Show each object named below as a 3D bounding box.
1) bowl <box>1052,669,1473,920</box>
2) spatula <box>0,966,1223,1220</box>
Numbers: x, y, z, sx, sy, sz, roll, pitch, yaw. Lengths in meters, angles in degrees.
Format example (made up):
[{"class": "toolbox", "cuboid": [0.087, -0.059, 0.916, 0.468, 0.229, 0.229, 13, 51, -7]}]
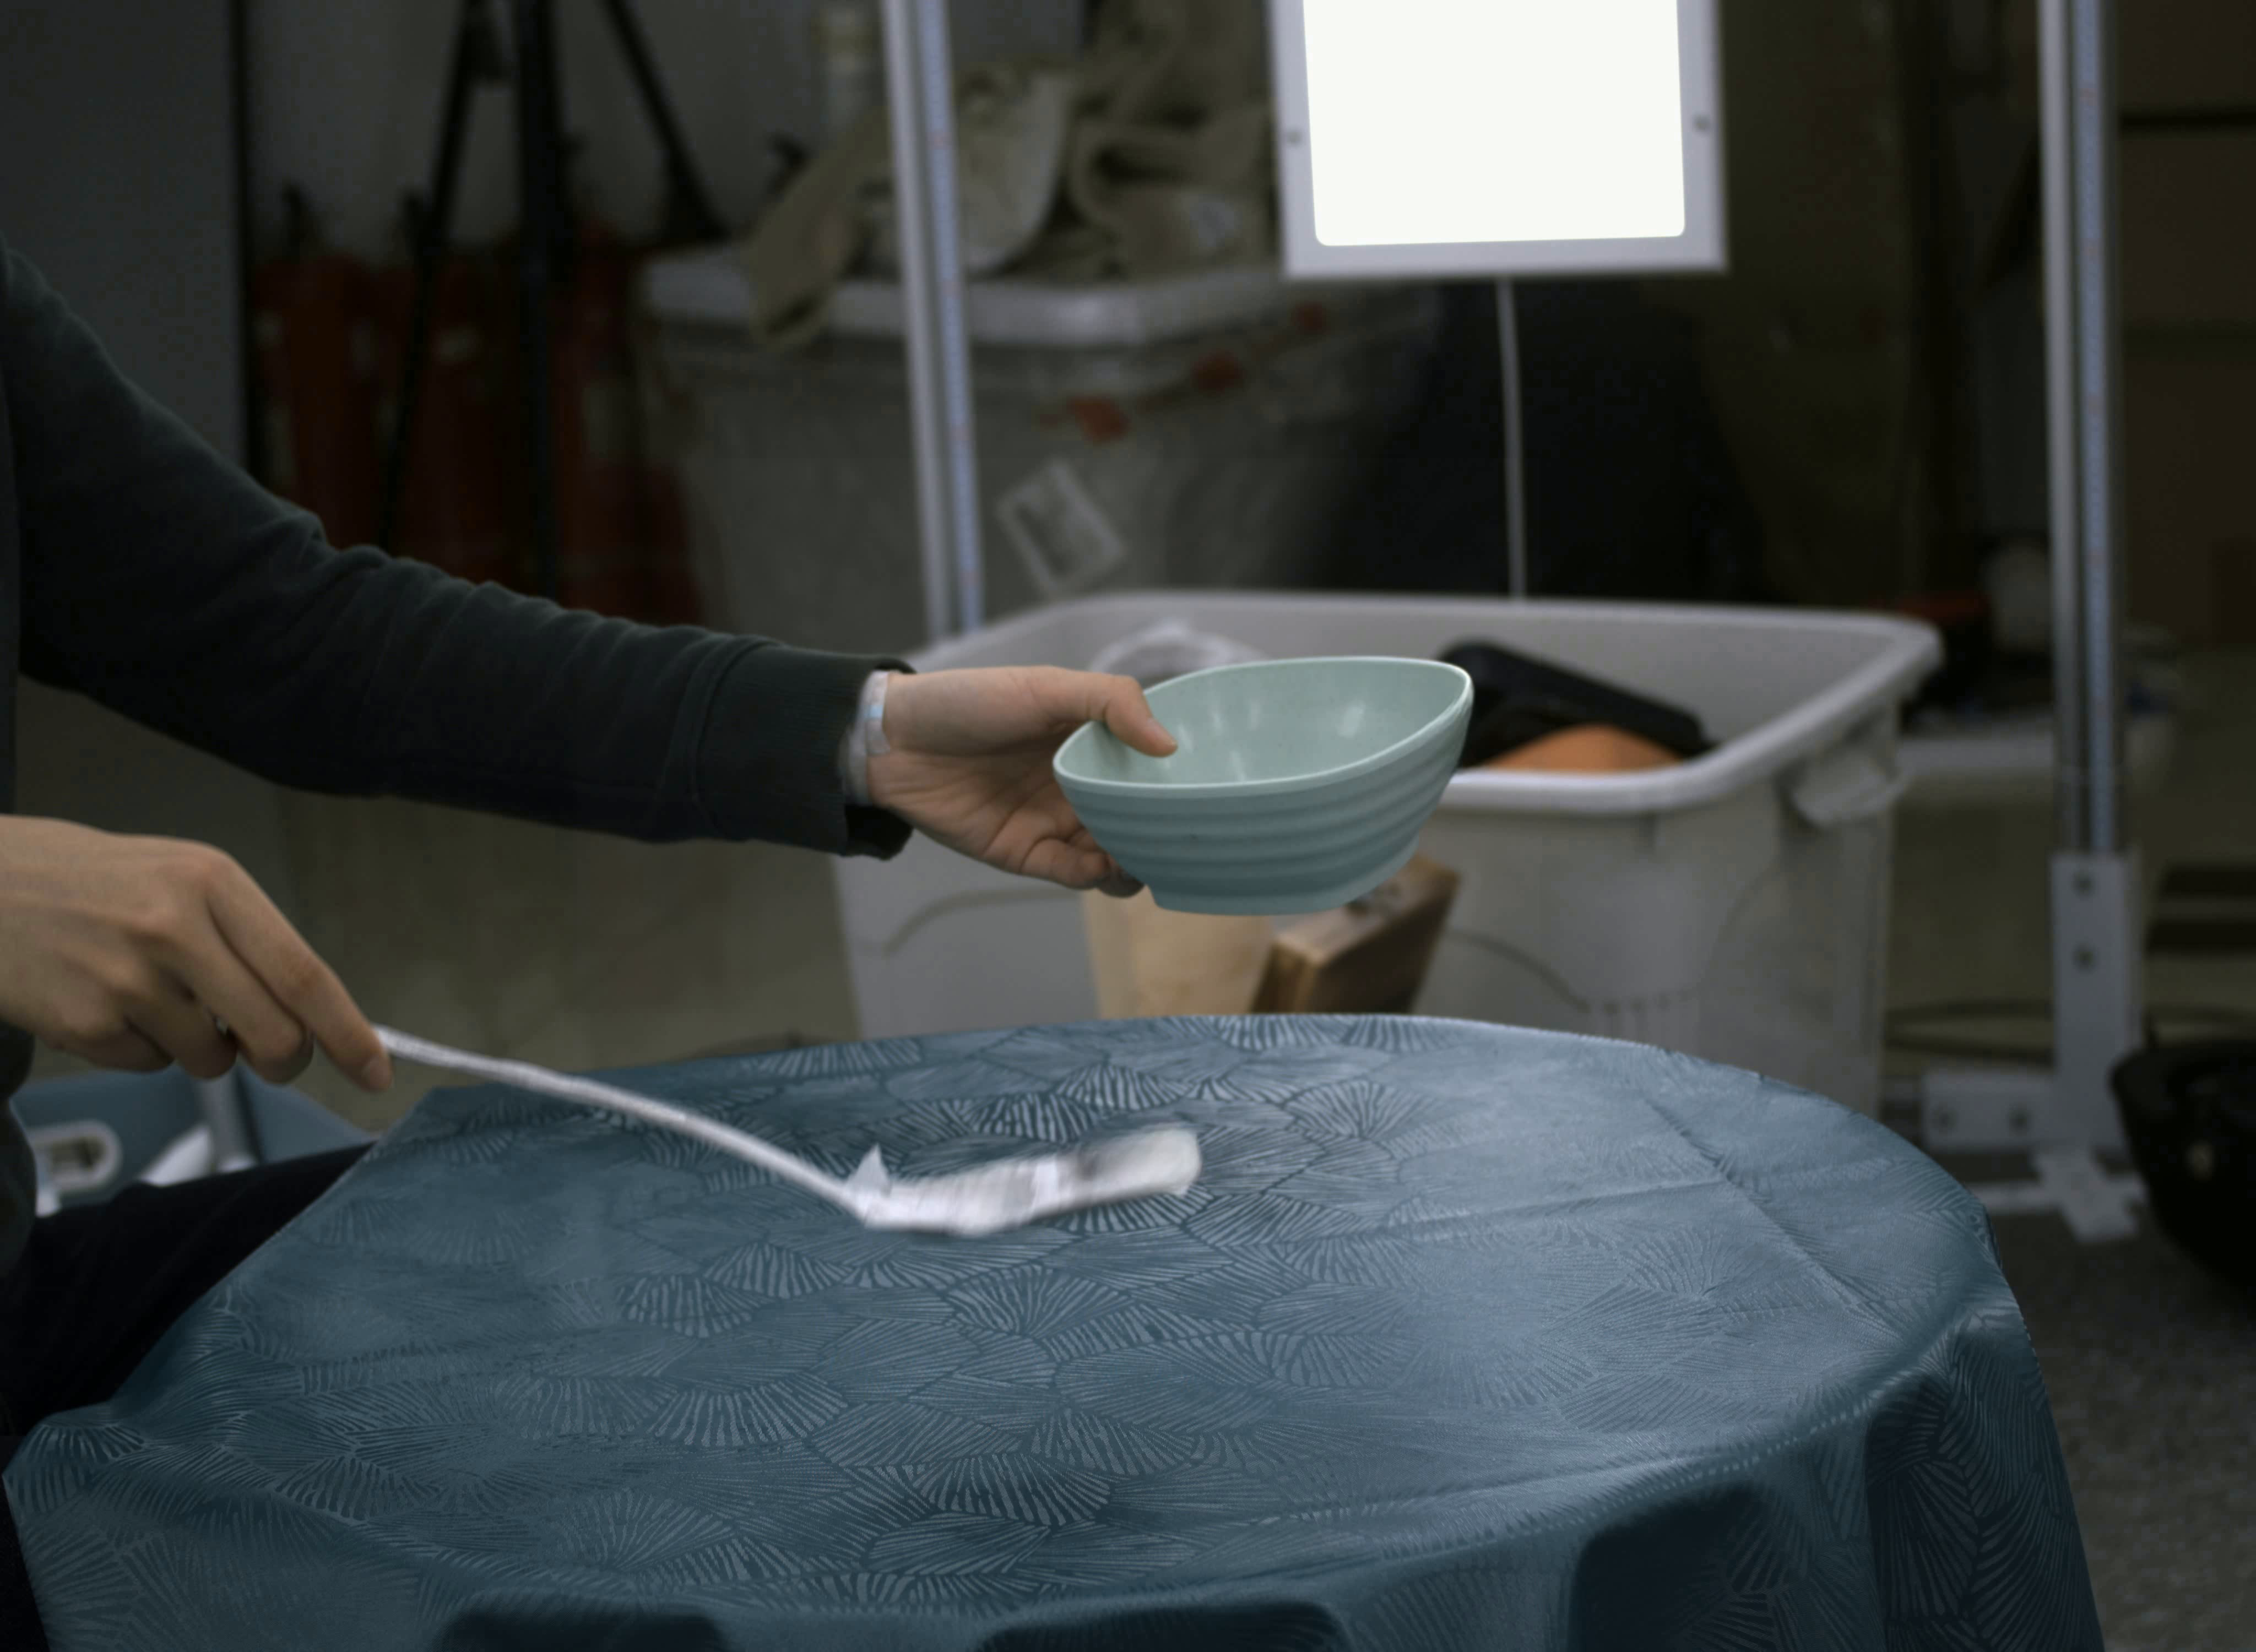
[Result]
[{"class": "bowl", "cuboid": [0.051, -0.008, 1.911, 0.151, 0.059, 0.151, -10, 16, 1]}, {"class": "spatula", "cuboid": [-0.154, 0.069, 1.606, 0.365, 0.045, 0.098, 14, 9, 6]}]
